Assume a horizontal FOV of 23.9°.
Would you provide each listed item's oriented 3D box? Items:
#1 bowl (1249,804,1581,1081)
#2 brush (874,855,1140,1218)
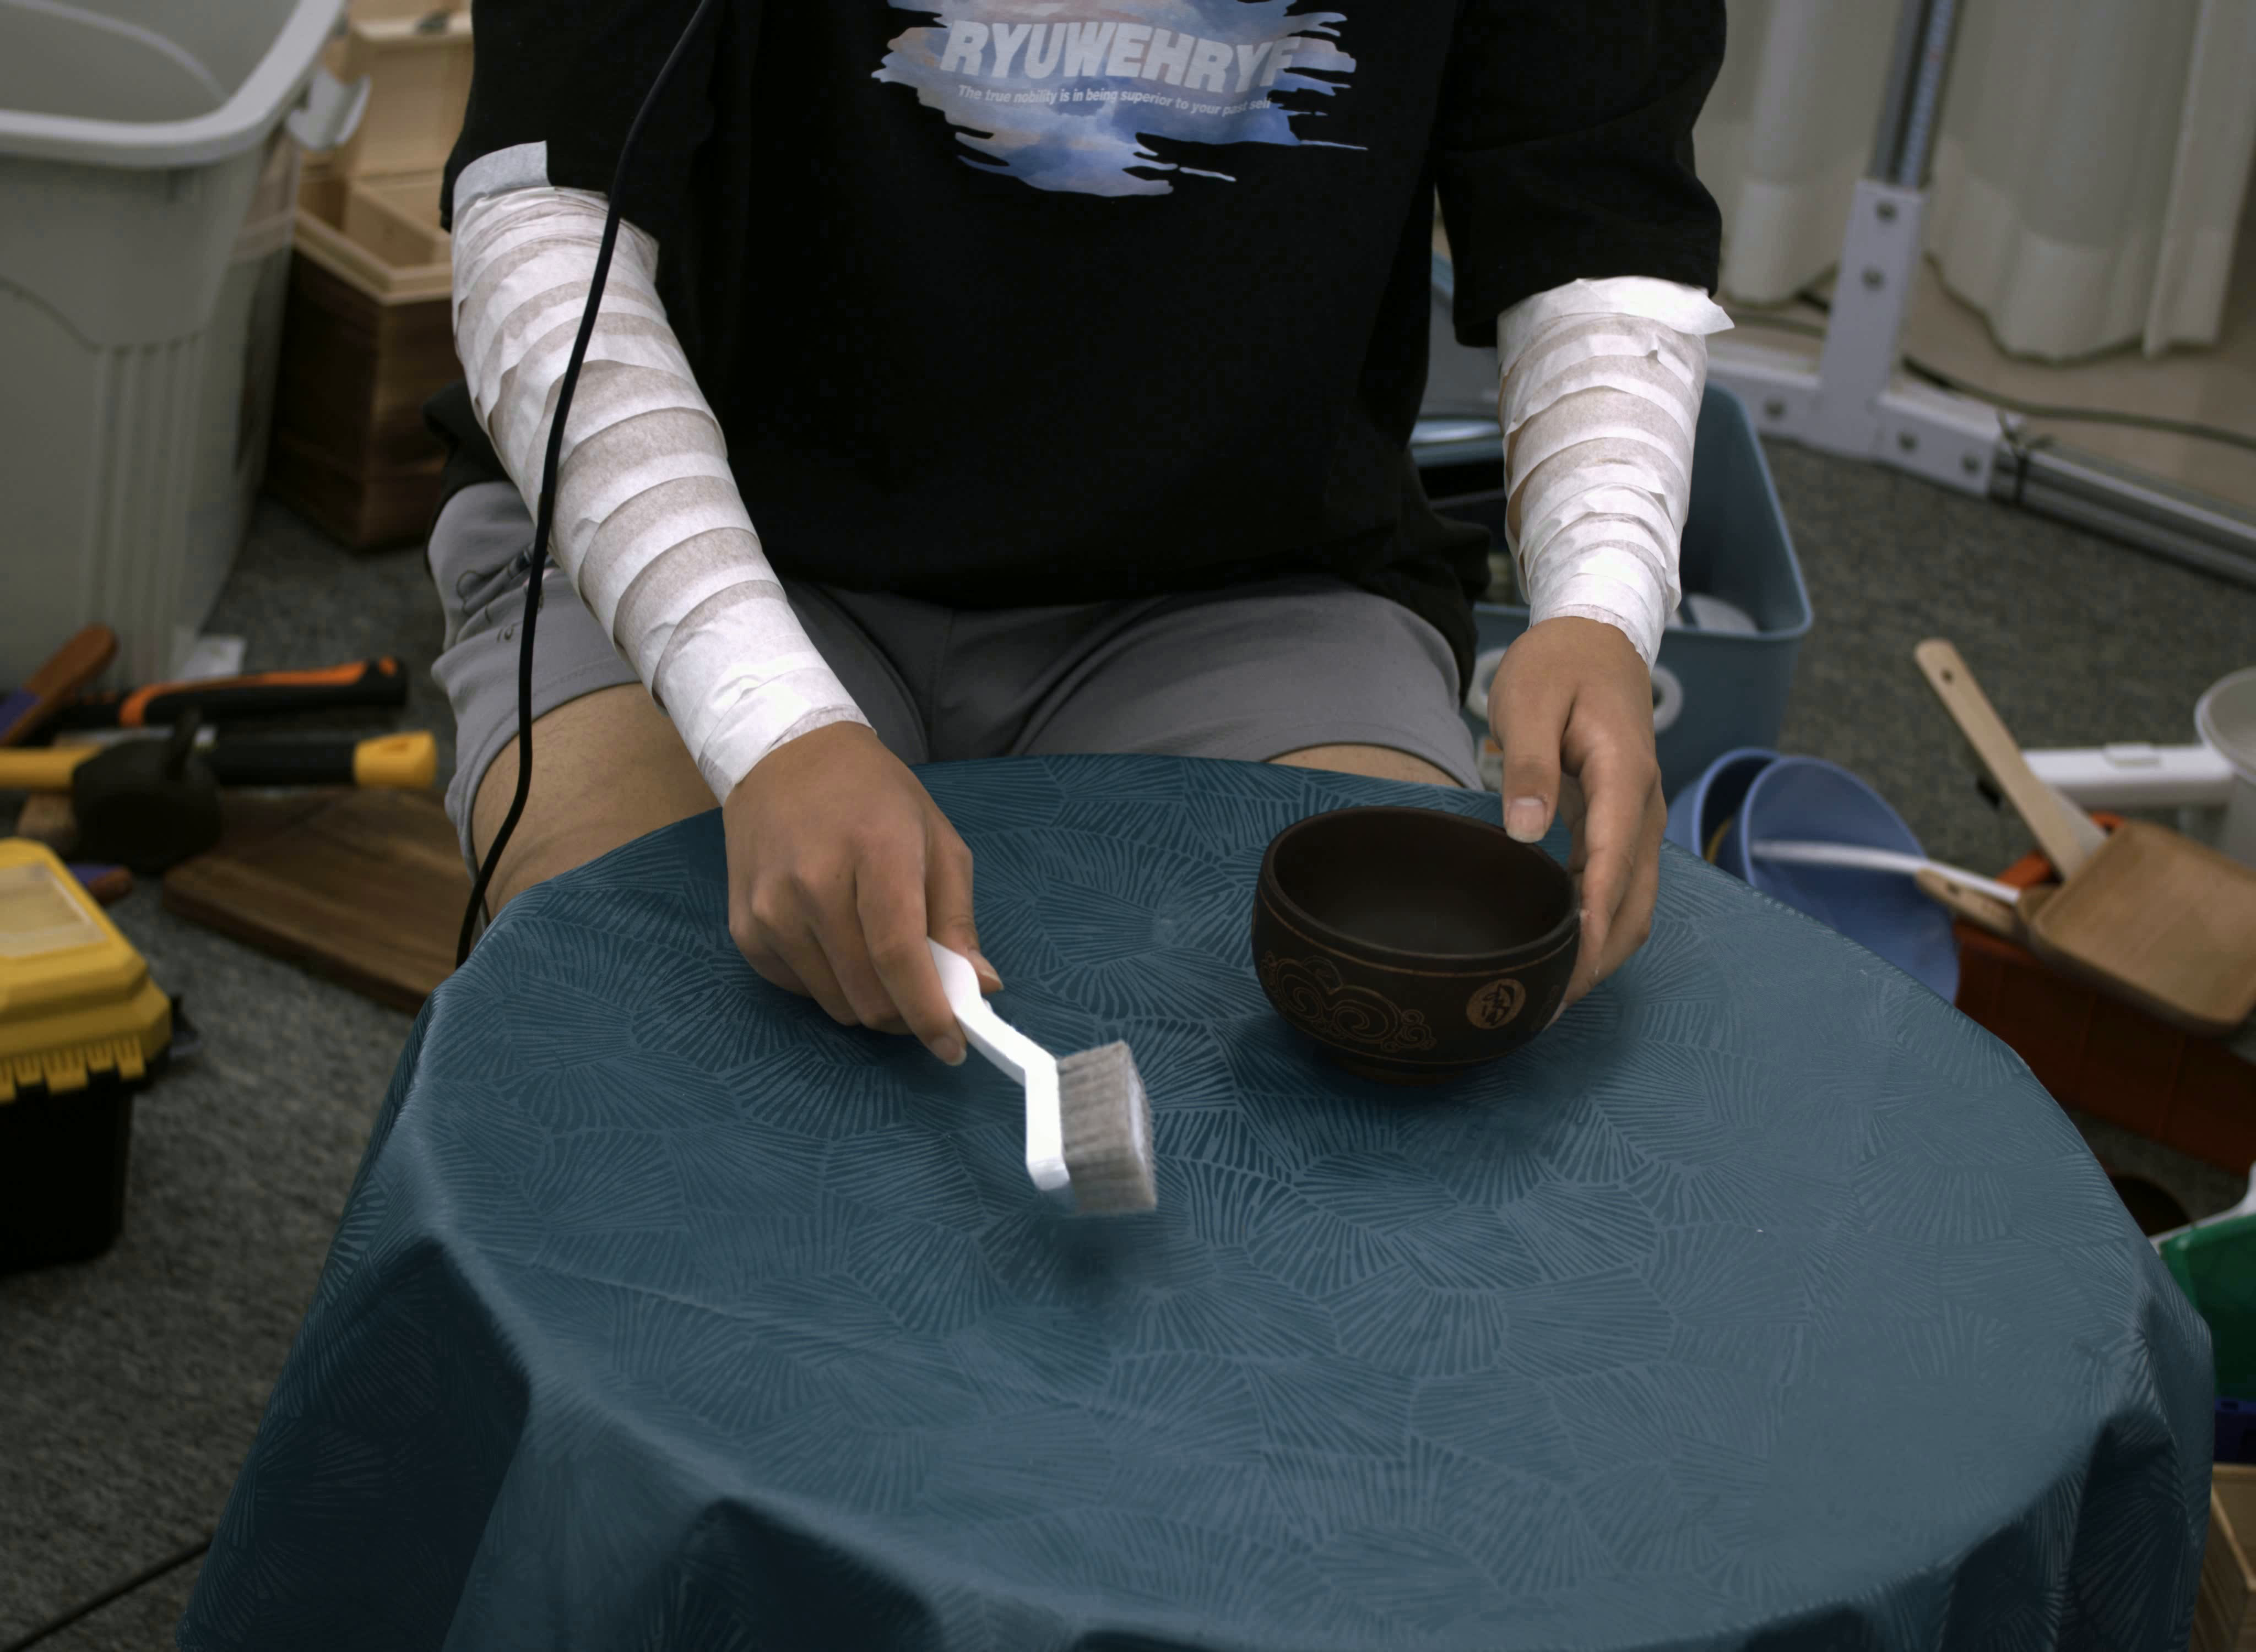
[{"bbox_3d":[0.100,0.048,1.897,0.117,0.069,0.118,4,25,-2],"label":"bowl"},{"bbox_3d":[-0.039,0.062,1.828,0.050,0.034,0.245,-22,29,-6],"label":"brush"}]
